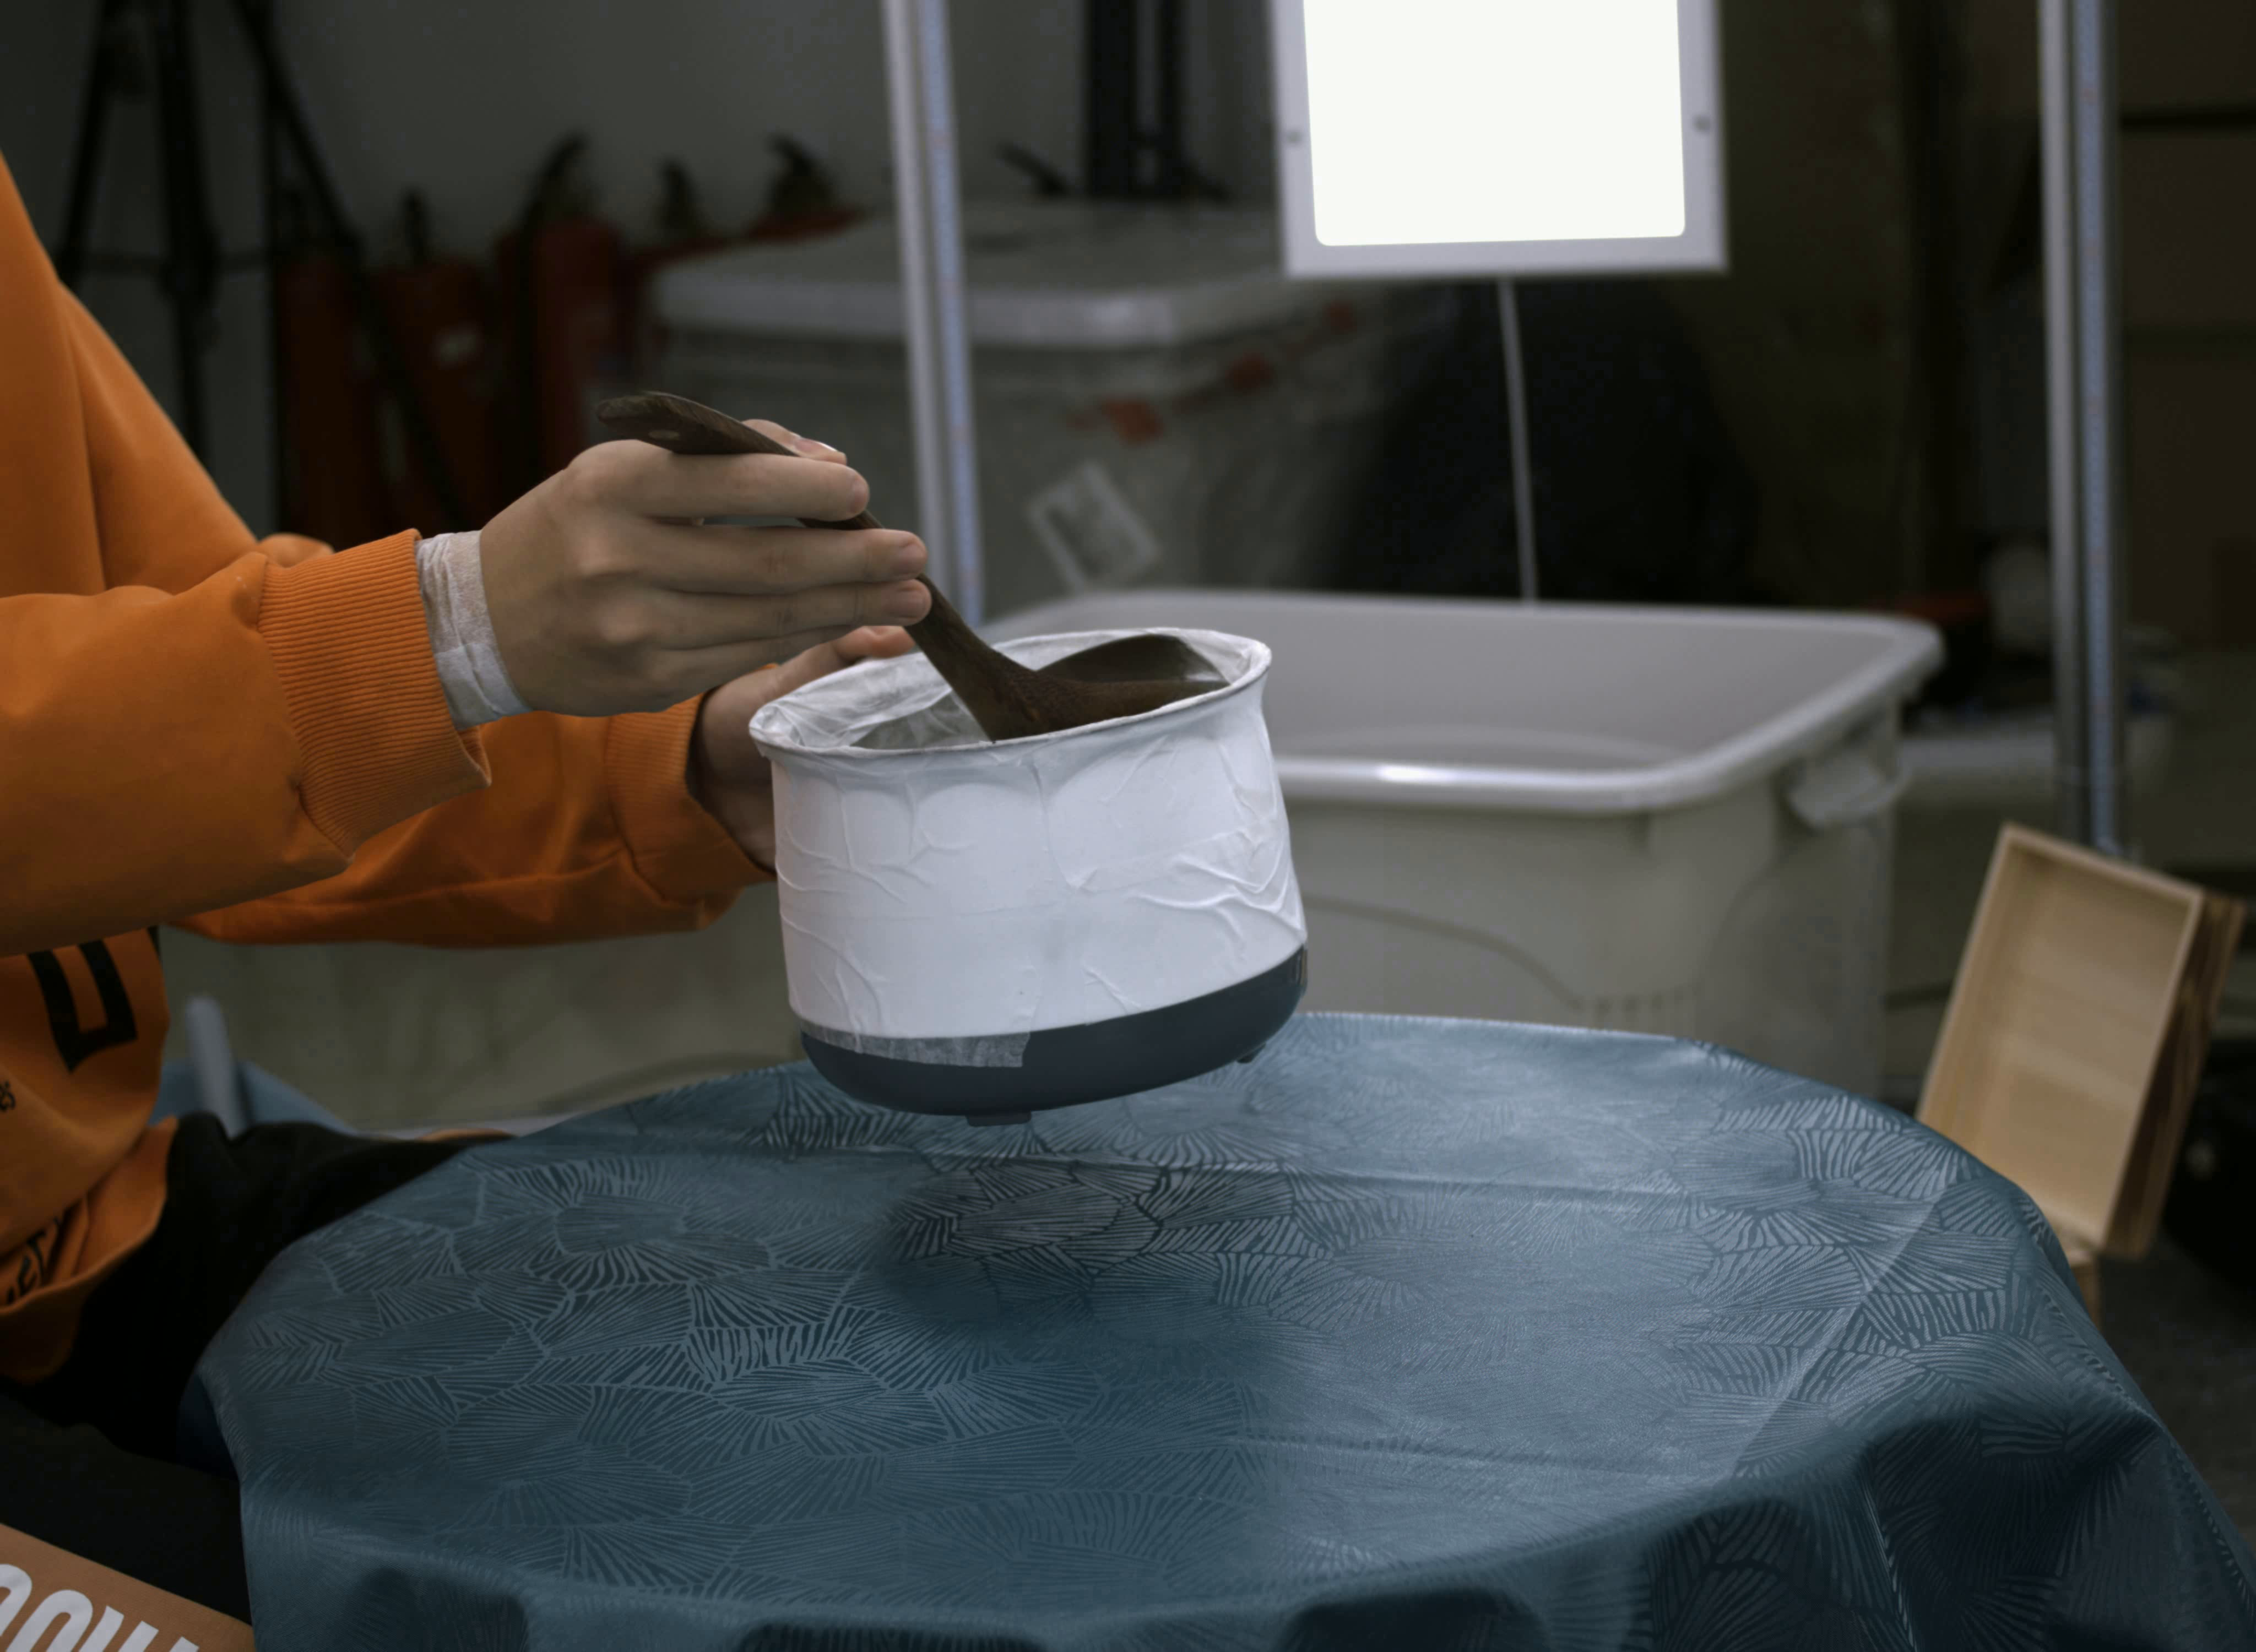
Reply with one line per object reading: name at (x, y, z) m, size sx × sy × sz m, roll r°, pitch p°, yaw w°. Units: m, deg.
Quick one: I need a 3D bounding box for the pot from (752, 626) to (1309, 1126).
pot at (-0.044, 0.011, 1.871) m, size 0.175 × 0.137 × 0.238 m, roll -14°, pitch 14°, yaw -27°

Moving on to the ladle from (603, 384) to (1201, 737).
ladle at (-0.071, -0.095, 1.749) m, size 0.077 × 0.071 × 0.269 m, roll -13°, pitch -35°, yaw 33°
